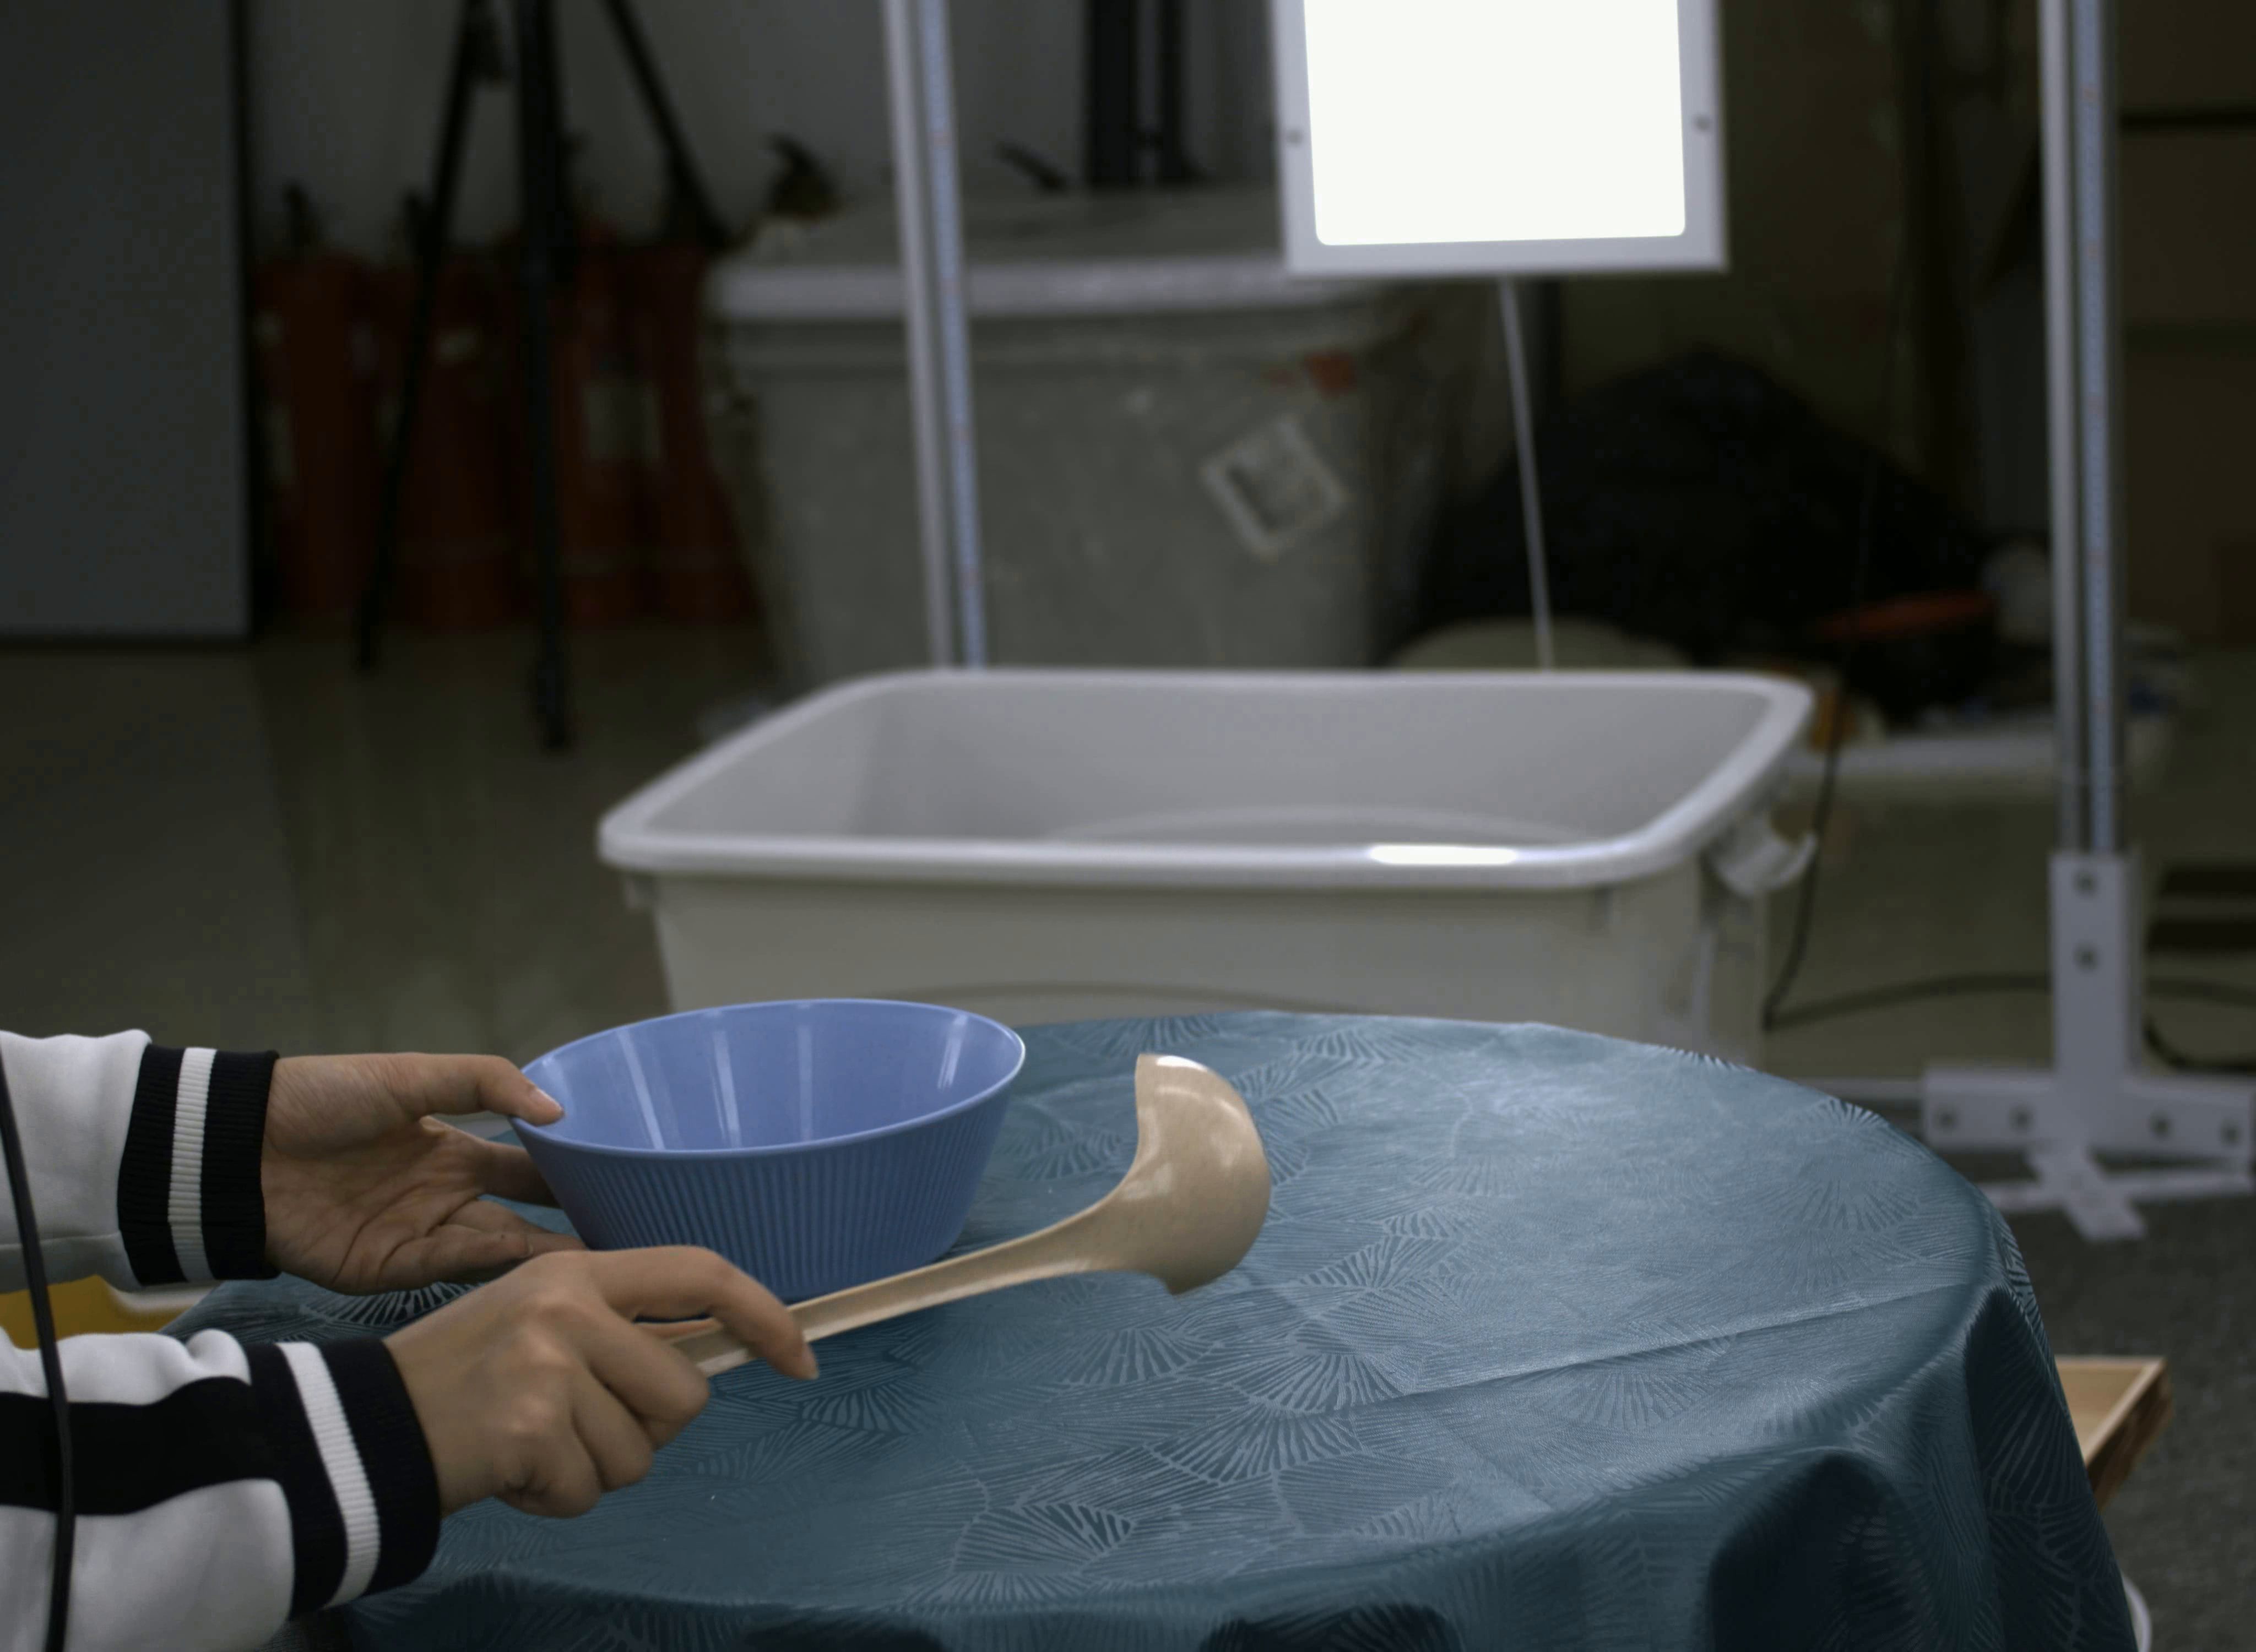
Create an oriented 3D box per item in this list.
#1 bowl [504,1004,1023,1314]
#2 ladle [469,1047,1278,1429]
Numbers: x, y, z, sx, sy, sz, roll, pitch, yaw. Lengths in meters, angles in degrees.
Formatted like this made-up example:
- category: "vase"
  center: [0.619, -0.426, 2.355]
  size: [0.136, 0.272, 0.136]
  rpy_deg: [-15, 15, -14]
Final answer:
- category: "bowl"
  center: [-0.119, 0.114, 1.846]
  size: [0.175, 0.070, 0.176]
  rpy_deg: [-5, 13, 0]
- category: "ladle"
  center: [-0.078, 0.124, 1.590]
  size: [0.250, 0.072, 0.074]
  rpy_deg: [-14, 16, -17]
